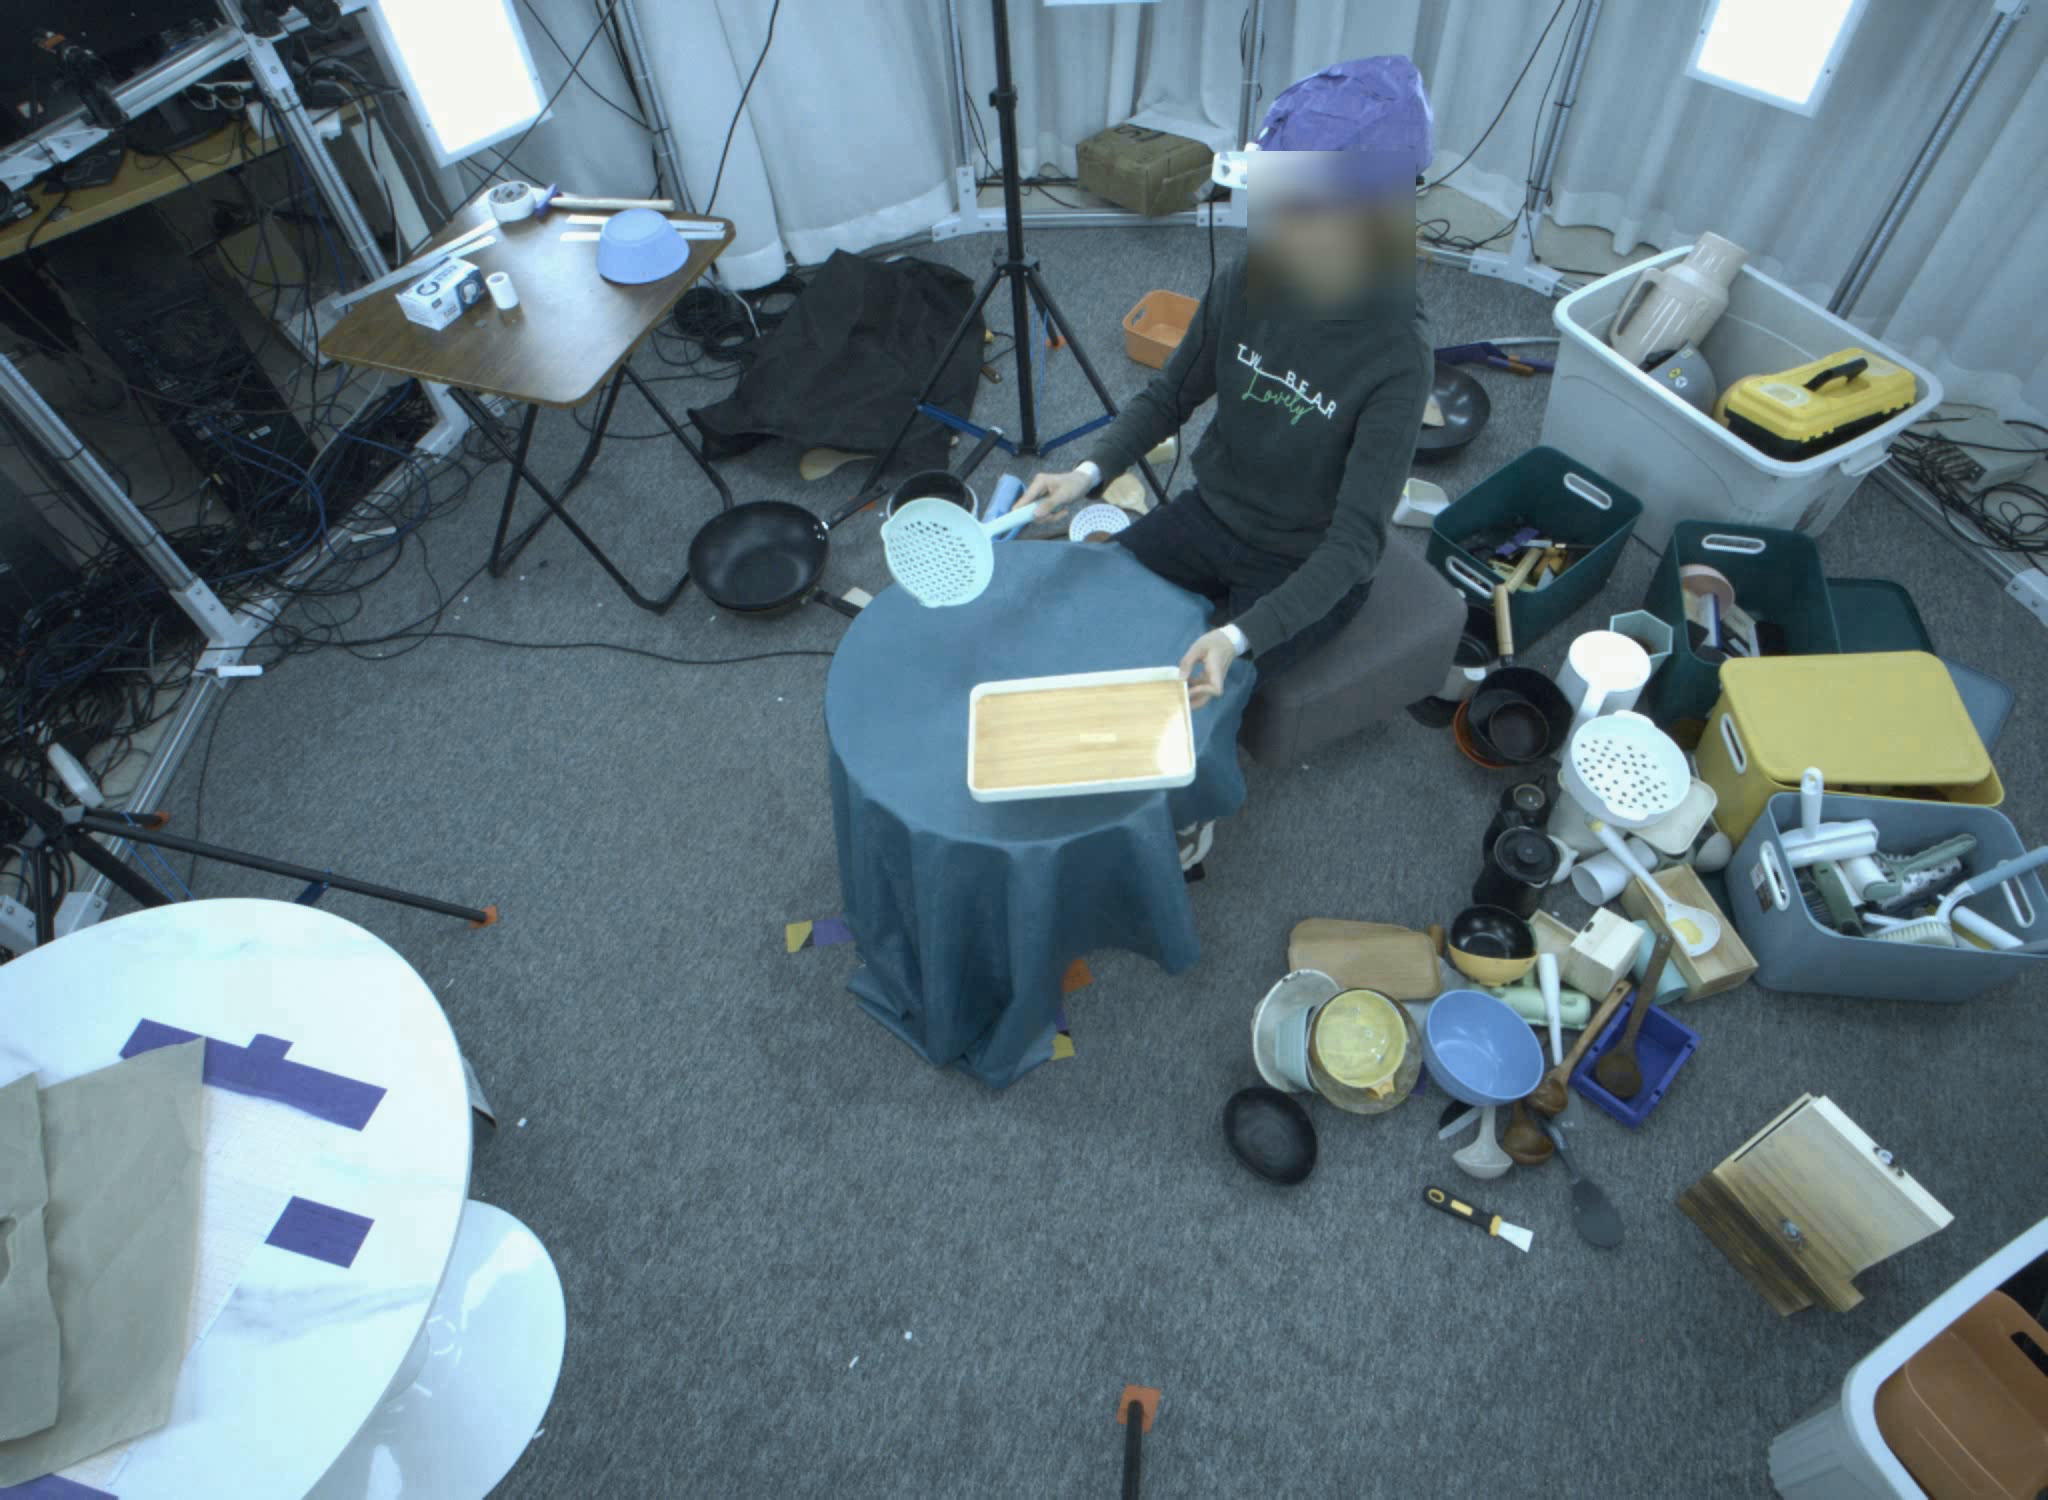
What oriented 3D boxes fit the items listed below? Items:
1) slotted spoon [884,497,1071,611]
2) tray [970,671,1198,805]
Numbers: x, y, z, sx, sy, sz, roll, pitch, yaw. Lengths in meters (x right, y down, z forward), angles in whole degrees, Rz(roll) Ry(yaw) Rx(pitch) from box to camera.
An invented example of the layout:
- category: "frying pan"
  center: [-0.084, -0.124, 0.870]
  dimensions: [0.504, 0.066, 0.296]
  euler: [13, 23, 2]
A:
- category: "slotted spoon"
  center: [-0.054, -0.320, 1.835]
  dimensions: [0.362, 0.074, 0.169]
  euler: [-31, 92, -28]
- category: "tray"
  center: [0.078, -0.018, 1.668]
  dimensions: [0.299, 0.028, 0.189]
  euler: [-4, 53, 4]
